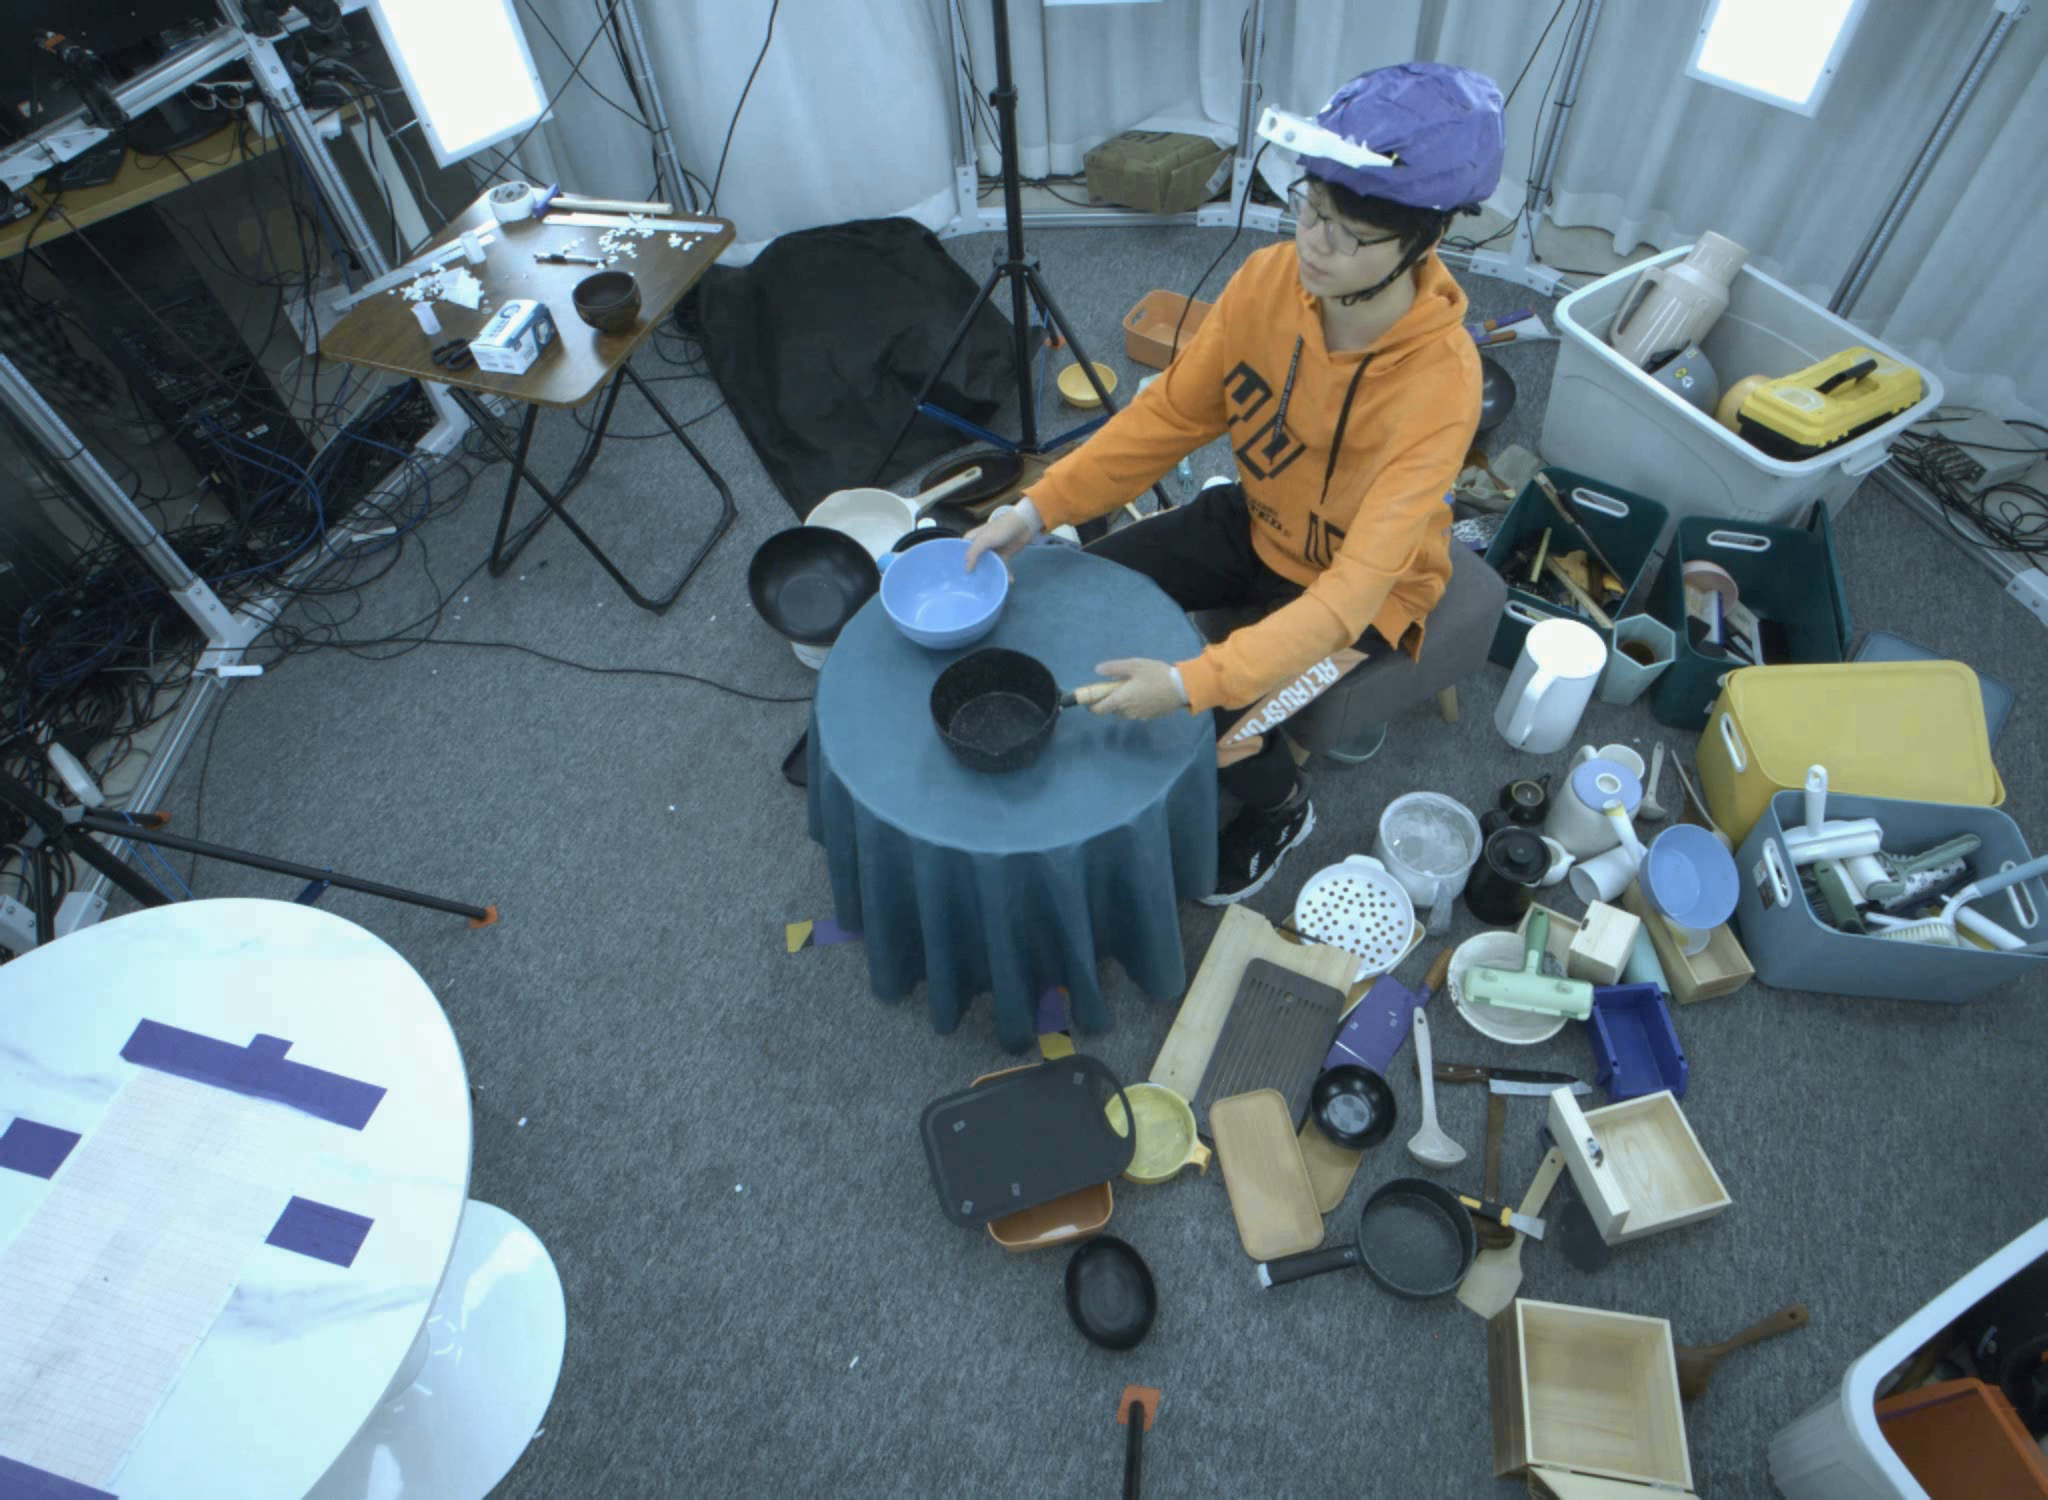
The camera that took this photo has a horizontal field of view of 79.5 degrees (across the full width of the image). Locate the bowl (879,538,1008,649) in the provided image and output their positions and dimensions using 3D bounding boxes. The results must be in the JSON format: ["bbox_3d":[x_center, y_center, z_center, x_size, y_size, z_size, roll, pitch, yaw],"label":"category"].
[{"bbox_3d":[-0.120,-0.227,1.892,0.196,0.096,0.194,-1,54,3],"label":"bowl"}]

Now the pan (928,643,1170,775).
[{"bbox_3d":[0.038,-0.064,1.765,0.343,0.109,0.205,-6,54,0],"label":"pan"}]
